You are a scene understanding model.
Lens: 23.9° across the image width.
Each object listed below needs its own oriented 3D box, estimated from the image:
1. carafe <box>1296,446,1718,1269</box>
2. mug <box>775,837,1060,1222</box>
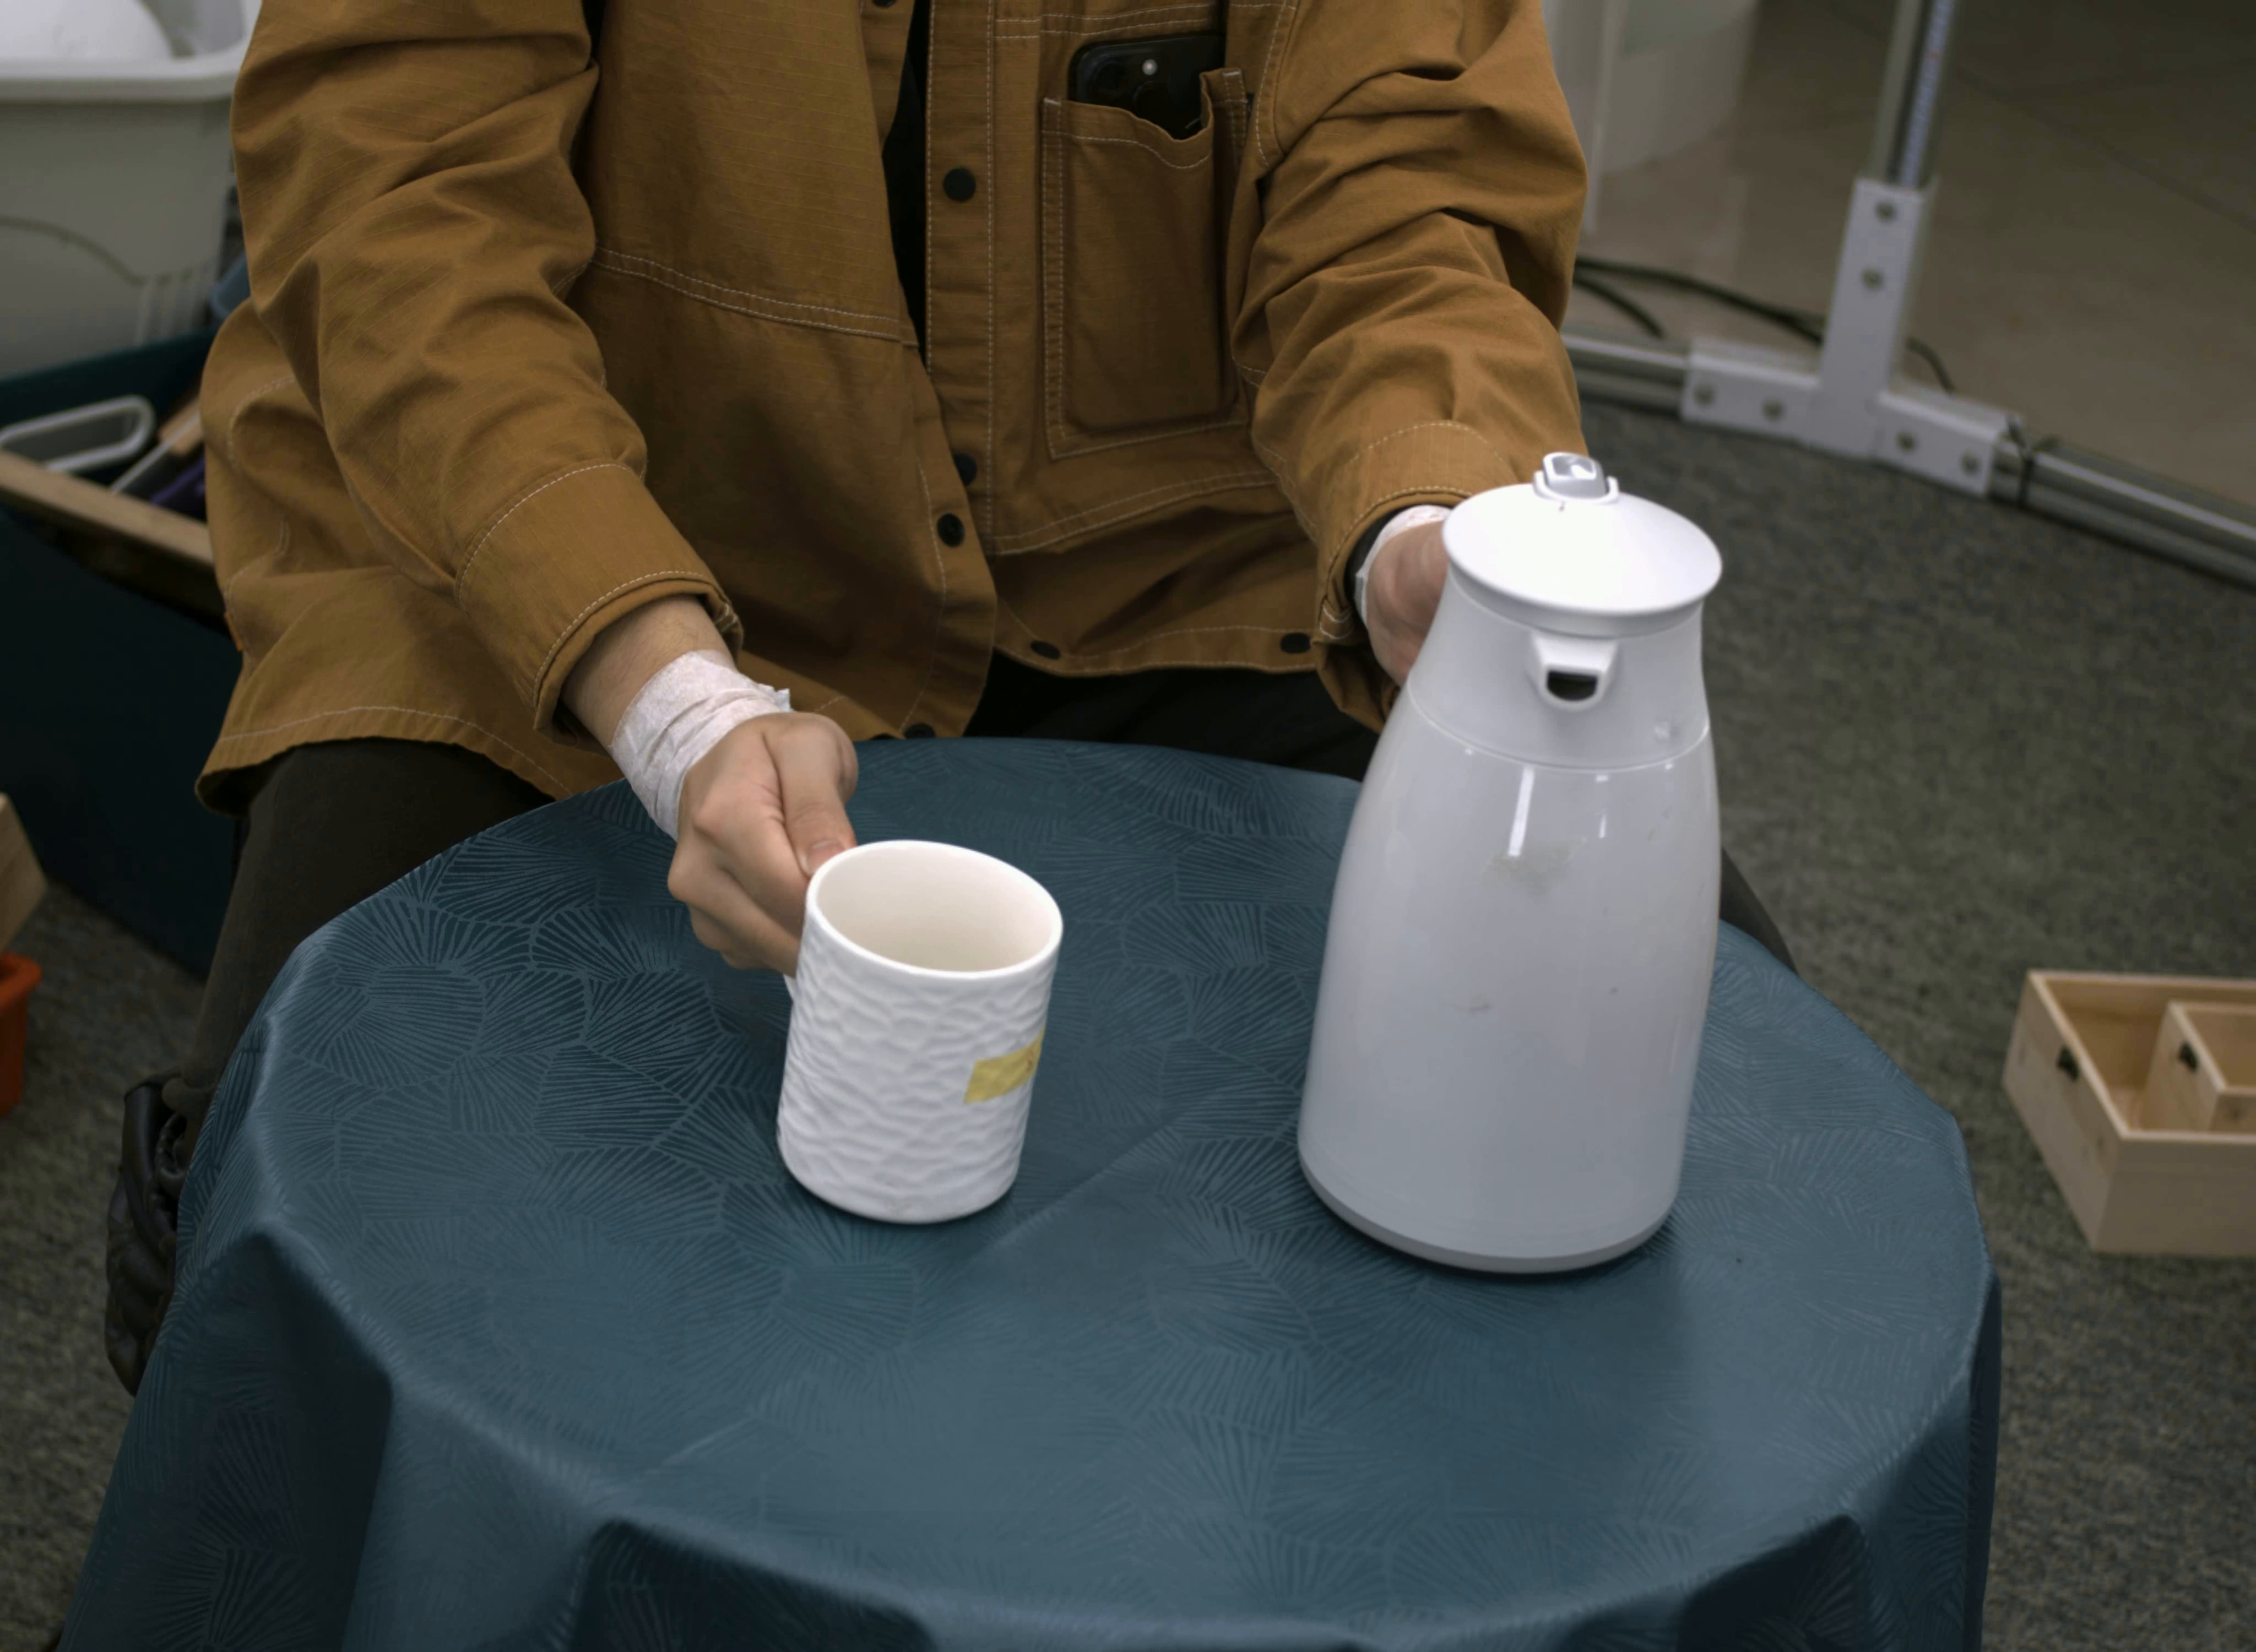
[{"bbox_3d":[0.134,-0.001,1.788,0.132,0.248,0.168,6,28,1],"label":"carafe"},{"bbox_3d":[-0.081,0.061,1.788,0.084,0.101,0.119,-14,37,-35],"label":"mug"}]
